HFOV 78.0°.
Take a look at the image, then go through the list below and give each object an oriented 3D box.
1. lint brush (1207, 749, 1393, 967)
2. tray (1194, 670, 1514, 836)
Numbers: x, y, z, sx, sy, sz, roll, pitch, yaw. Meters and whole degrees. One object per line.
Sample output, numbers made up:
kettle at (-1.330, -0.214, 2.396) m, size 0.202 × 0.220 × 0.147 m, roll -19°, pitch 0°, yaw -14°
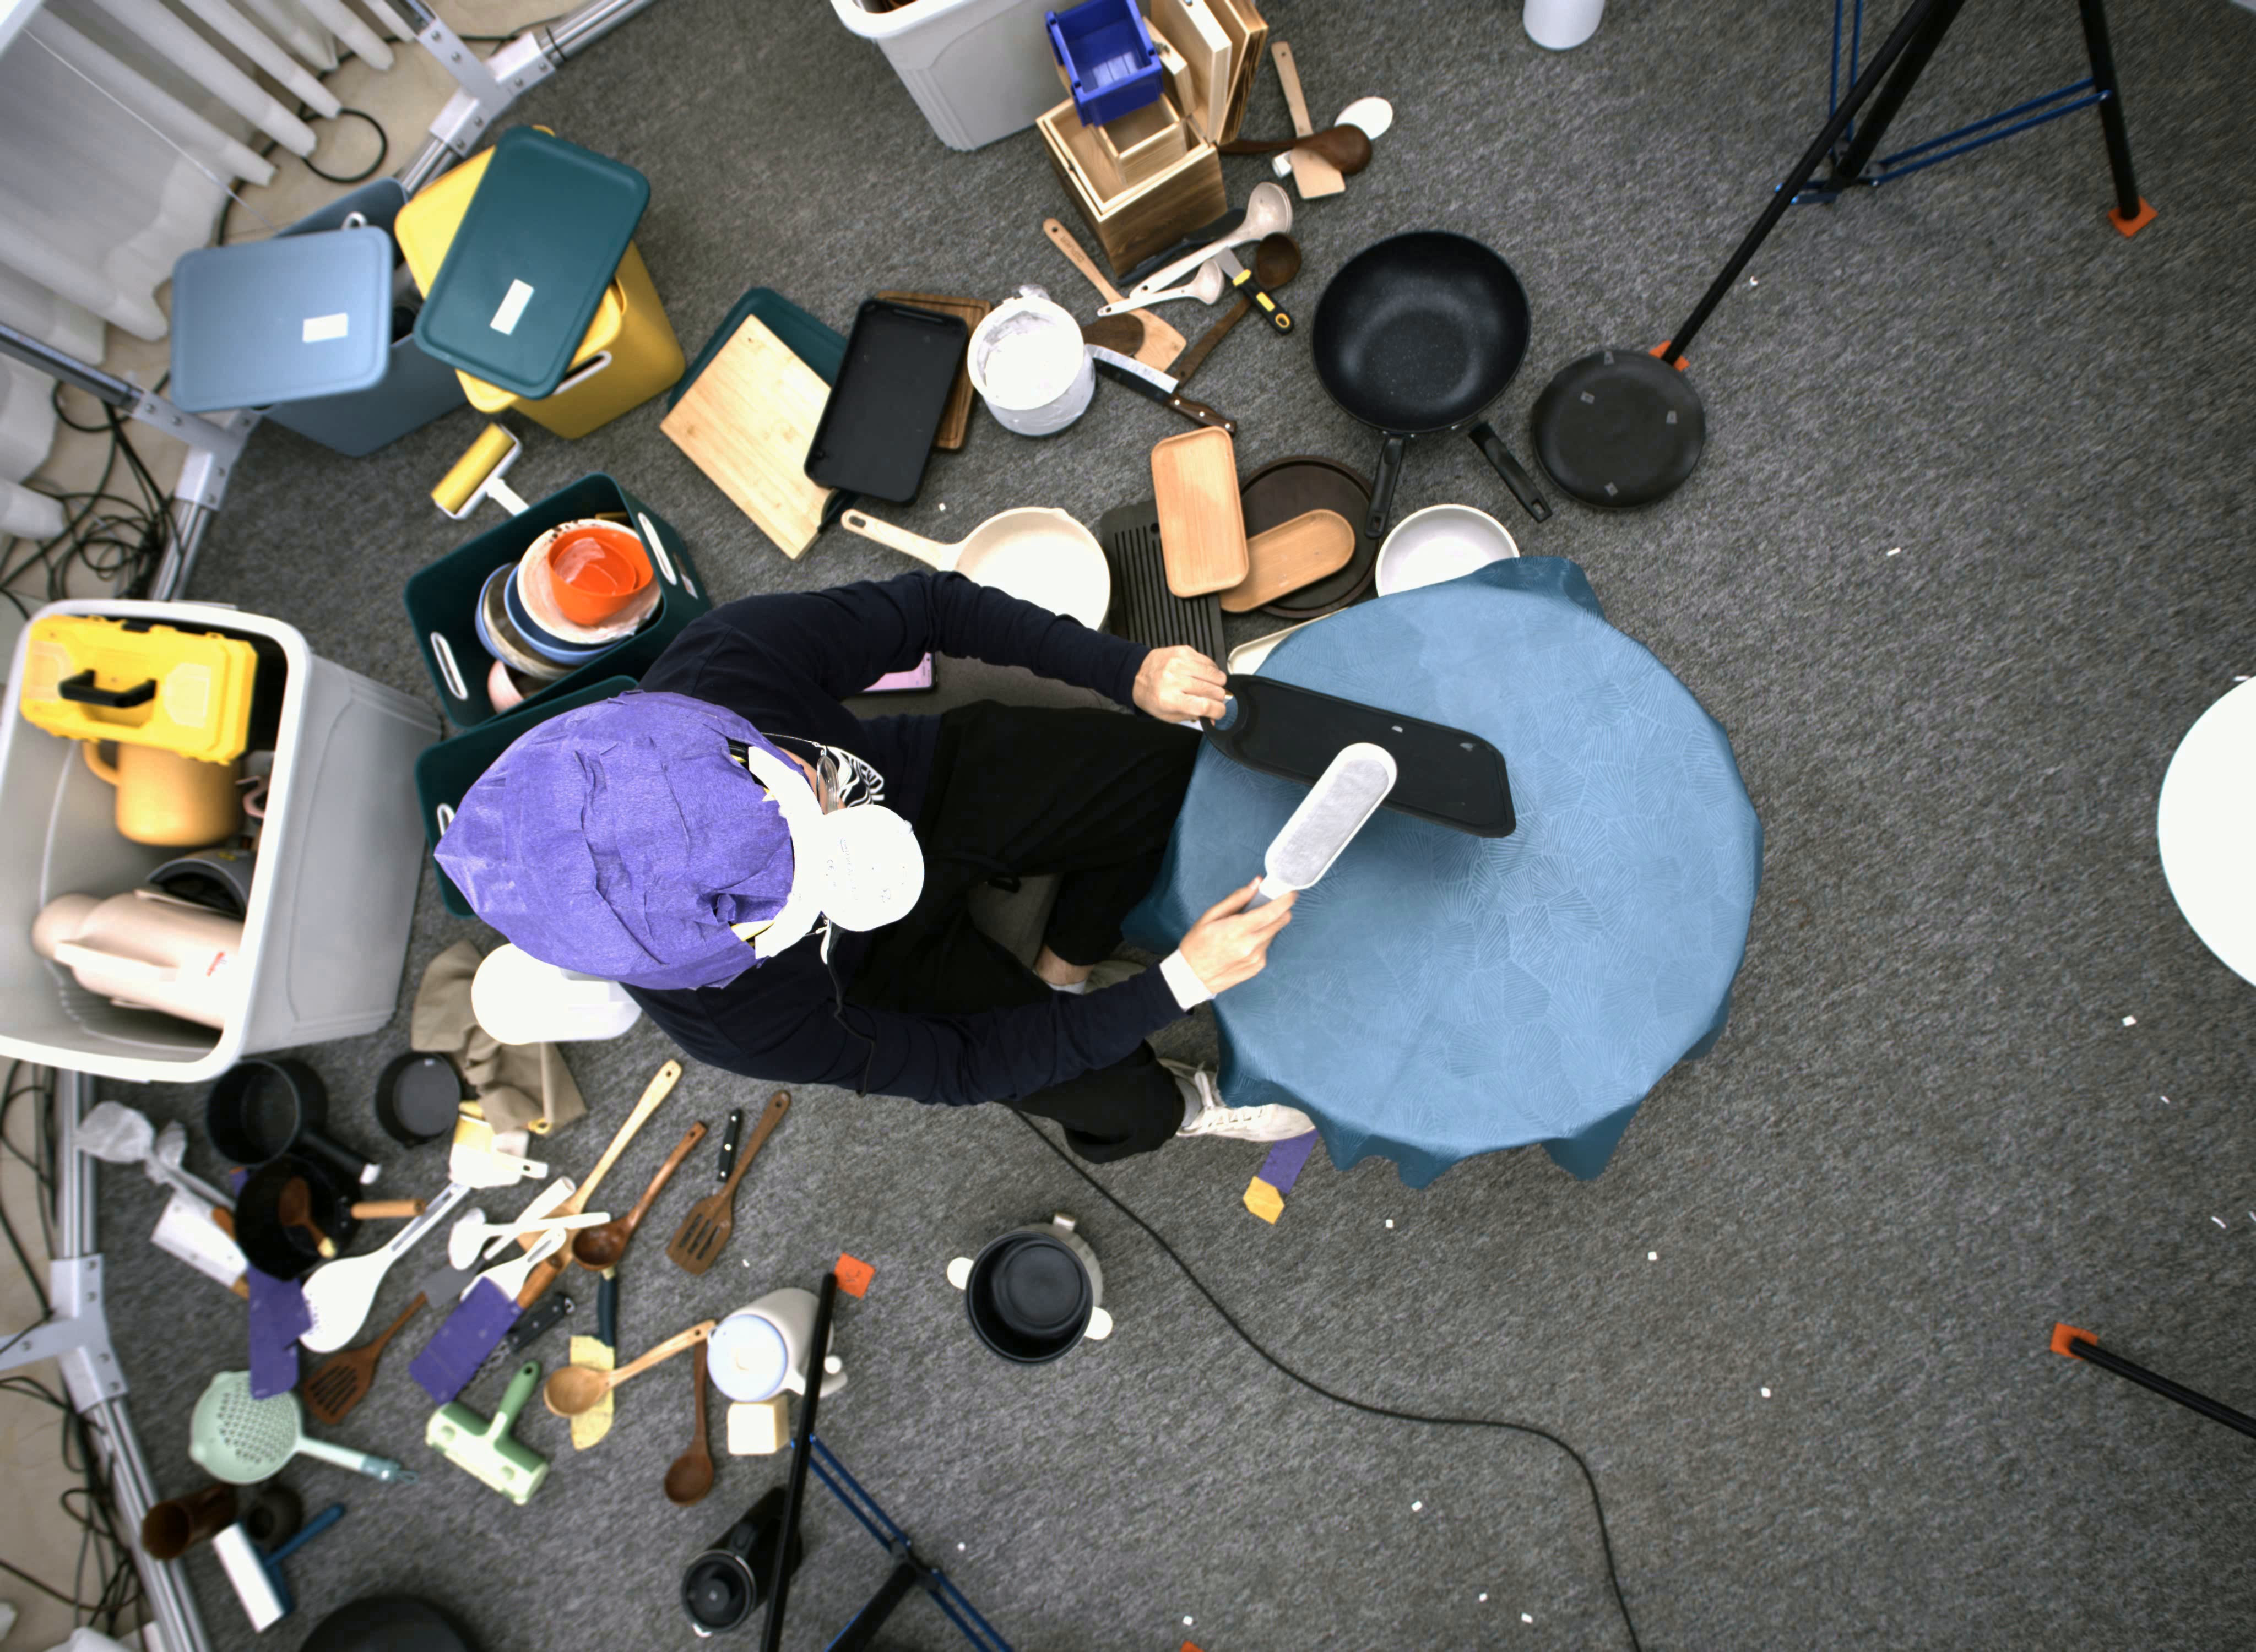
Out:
lint brush at (0.154, 0.038, 1.321) m, size 0.060 × 0.020 × 0.317 m, roll 29°, pitch 130°, yaw -5°
tray at (0.223, -0.081, 1.364) m, size 0.326 × 0.205 × 0.010 m, roll 16°, pitch 123°, yaw 0°
